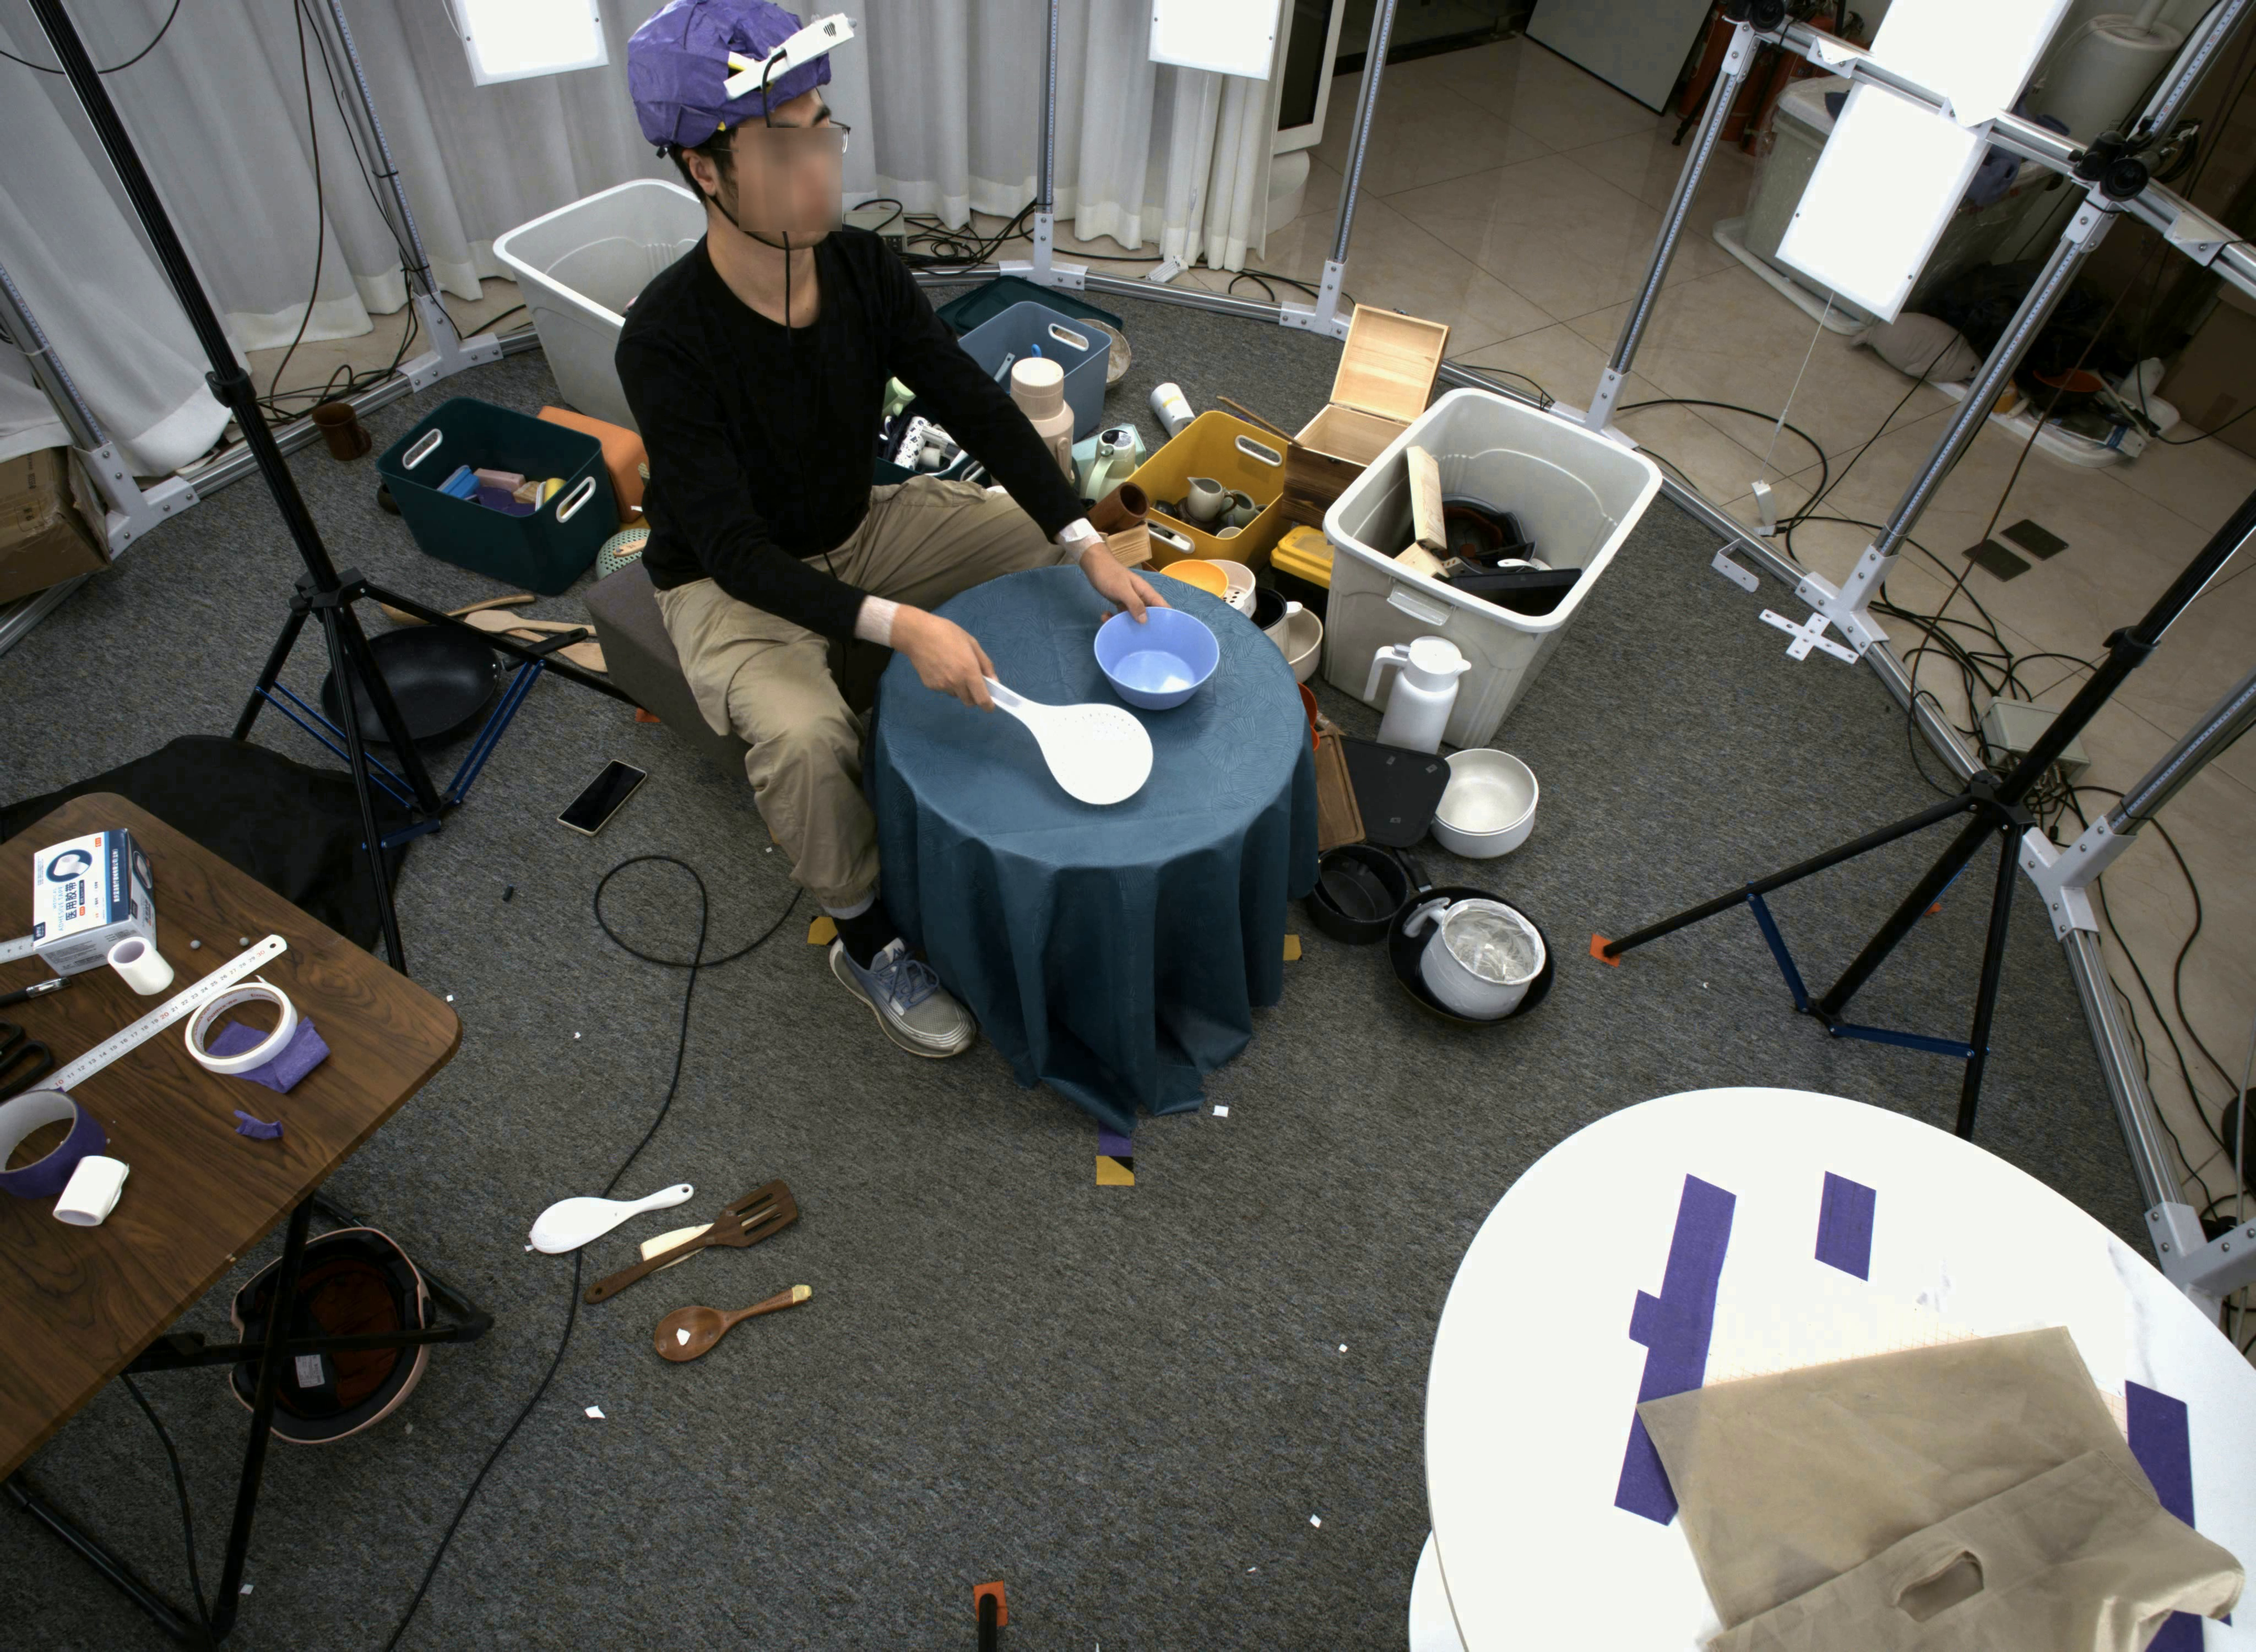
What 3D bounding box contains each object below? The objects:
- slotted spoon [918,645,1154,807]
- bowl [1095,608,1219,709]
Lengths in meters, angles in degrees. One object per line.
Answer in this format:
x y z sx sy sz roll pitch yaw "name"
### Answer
-0.126 -0.143 1.710 0.350 0.045 0.137 31 74 3 "slotted spoon"
0.039 -0.230 1.826 0.176 0.068 0.180 2 48 -2 "bowl"
